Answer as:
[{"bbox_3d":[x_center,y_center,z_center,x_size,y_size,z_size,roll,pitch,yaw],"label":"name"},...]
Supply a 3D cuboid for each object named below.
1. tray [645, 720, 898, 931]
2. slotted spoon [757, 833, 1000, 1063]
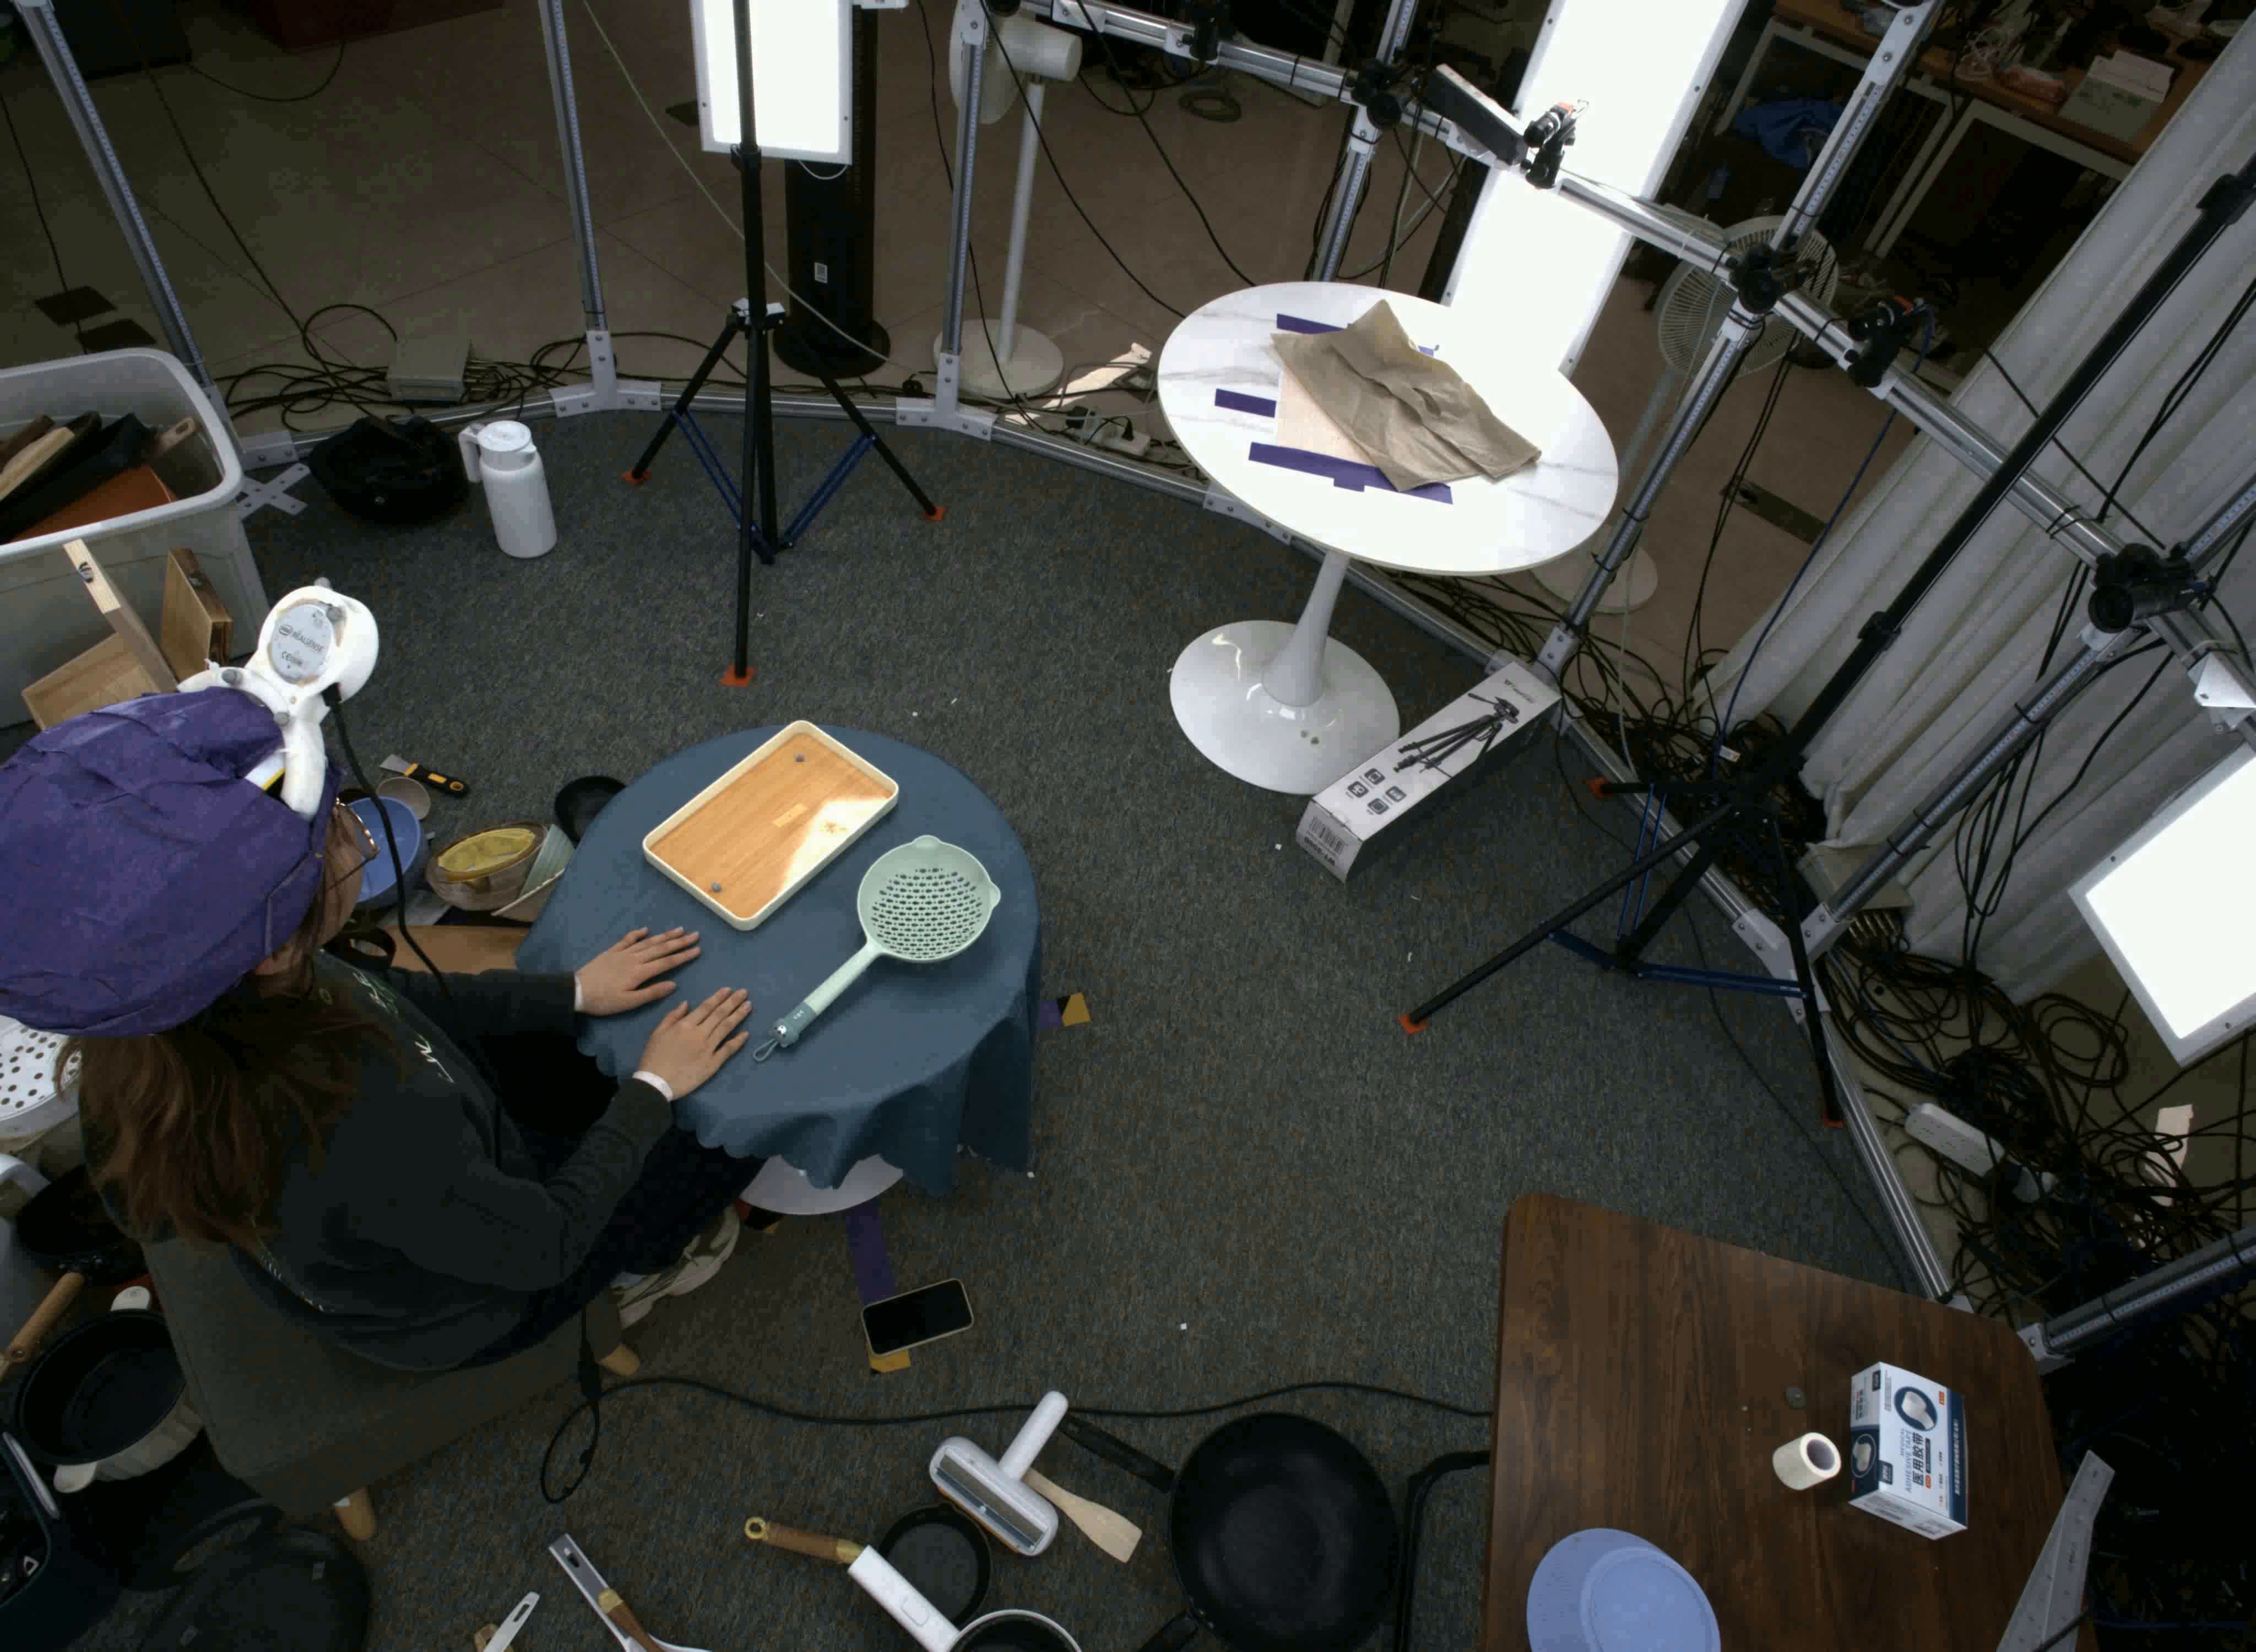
[{"bbox_3d":[-0.466,-0.009,1.708,0.188,0.028,0.300,35,53,12],"label":"tray"},{"bbox_3d":[-0.317,0.155,1.600,0.166,0.077,0.359,38,54,16],"label":"slotted spoon"}]
